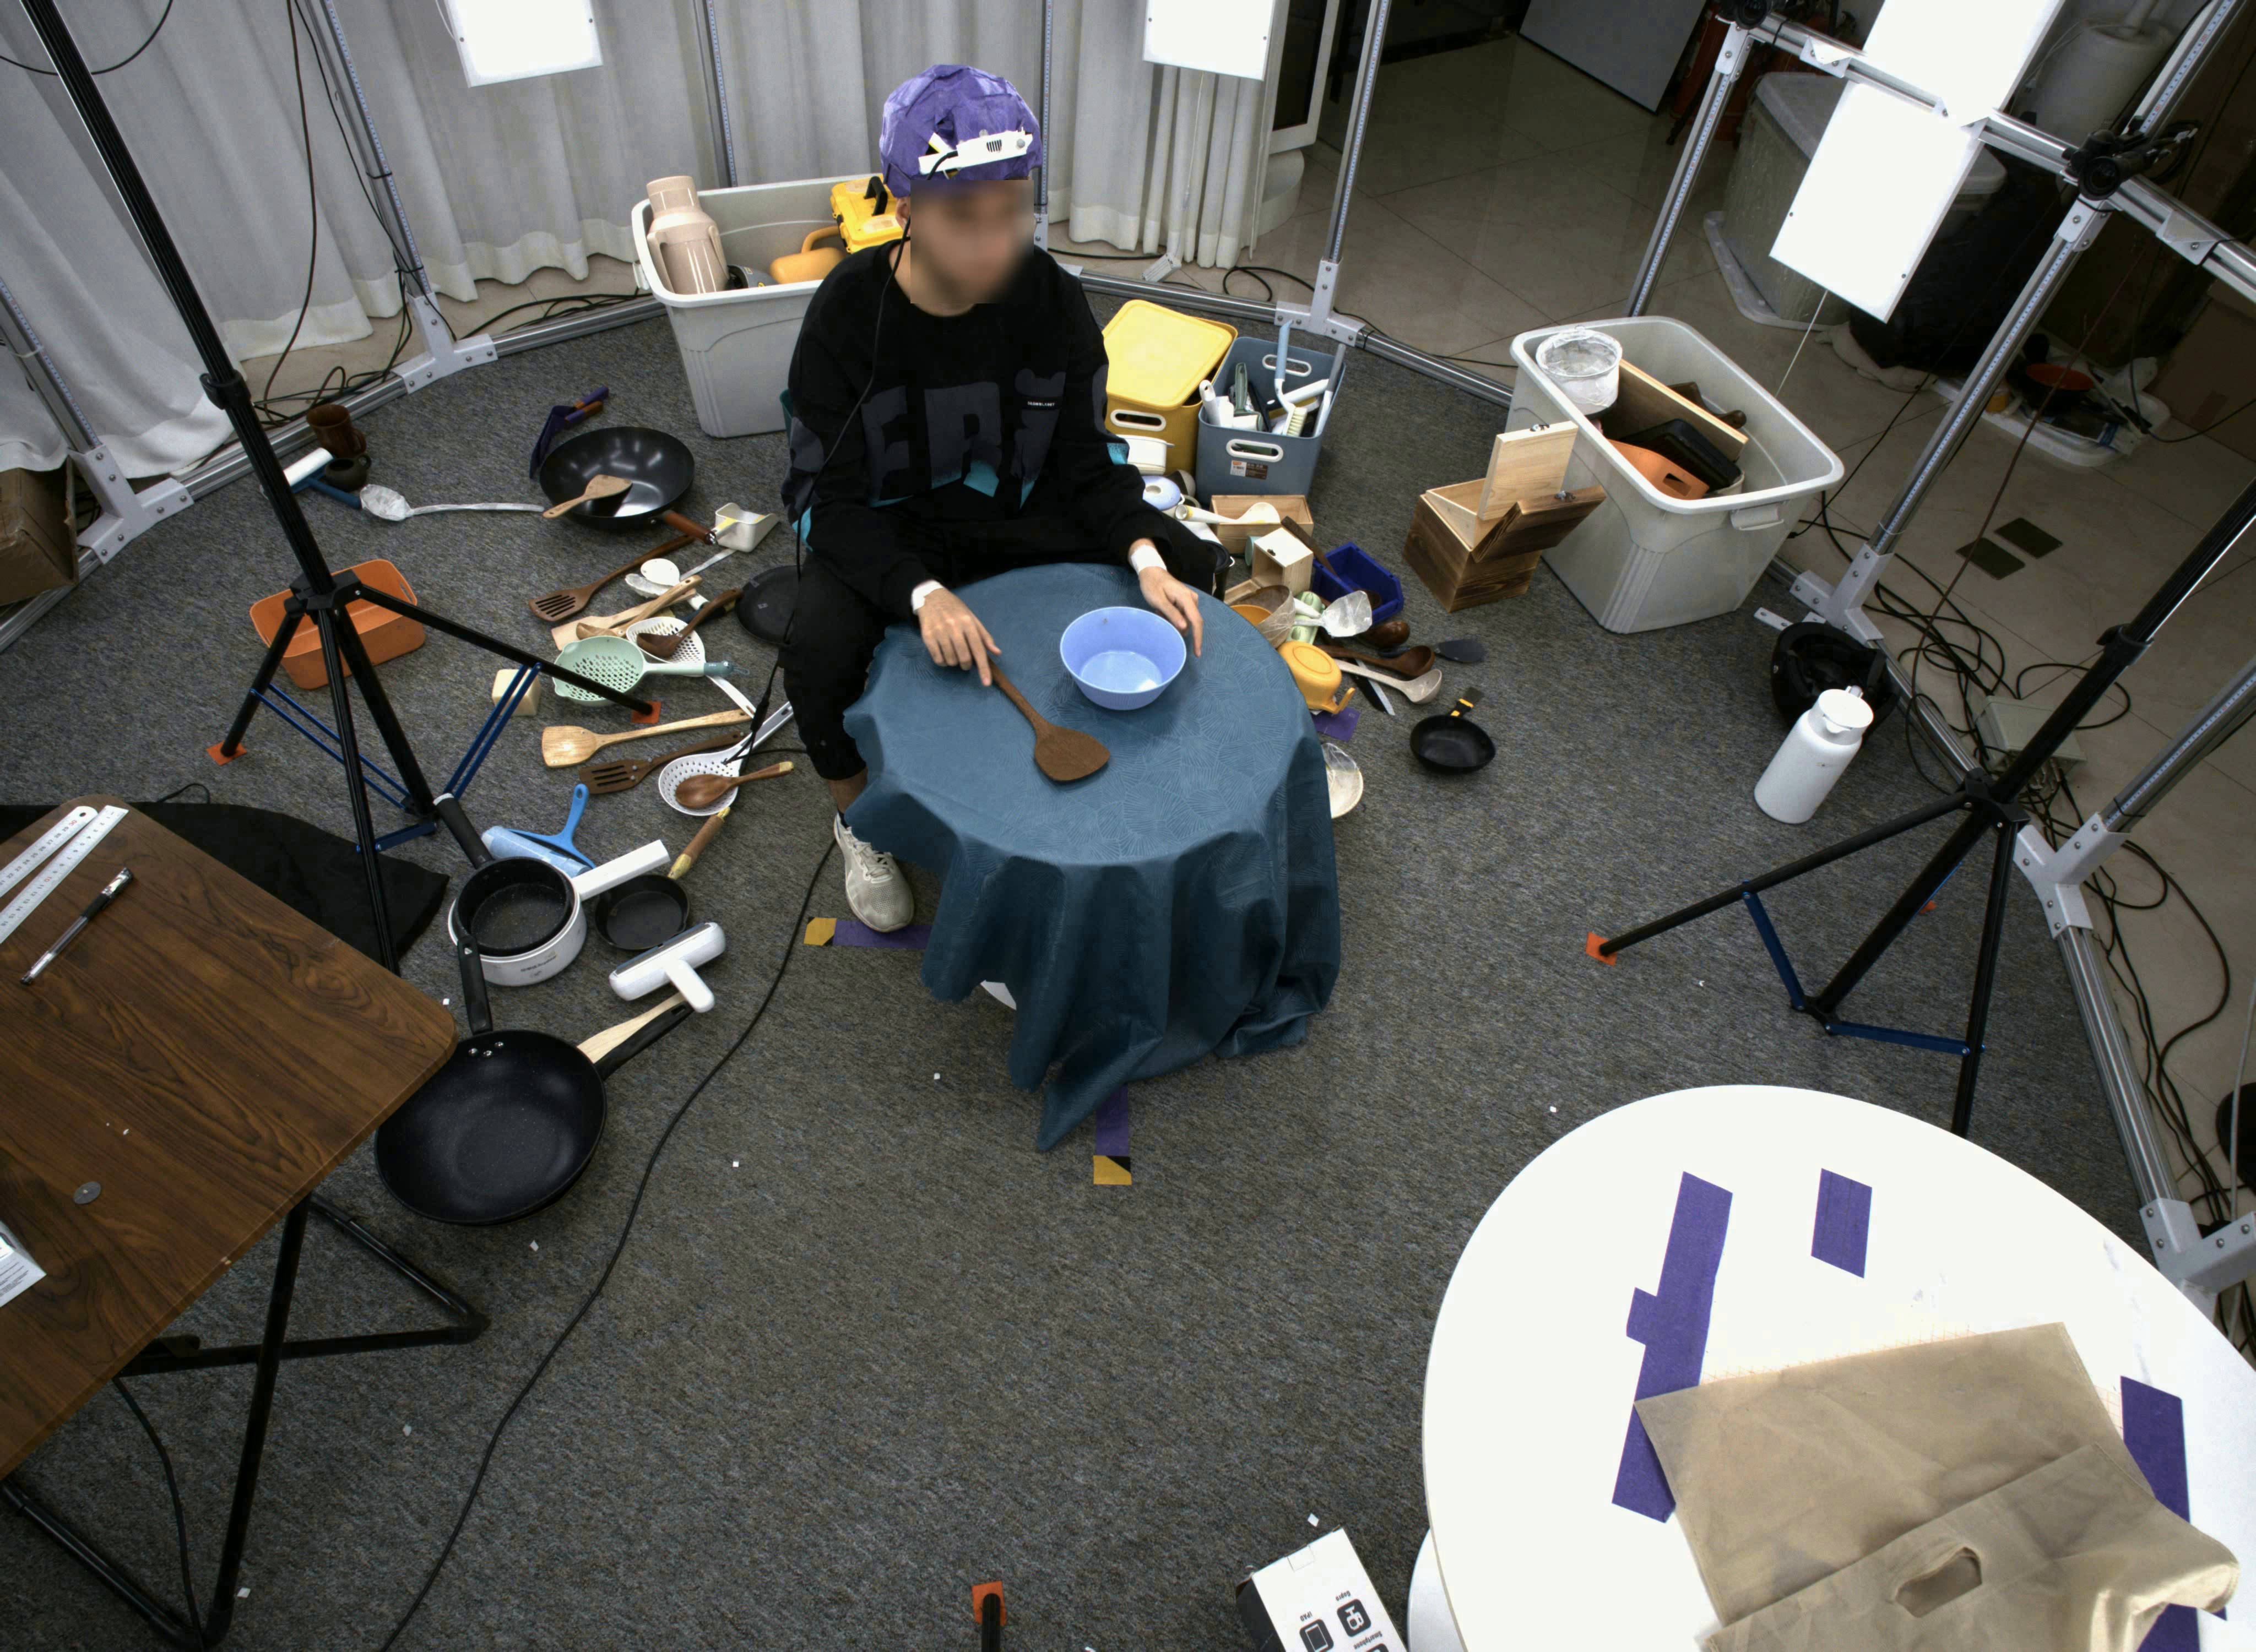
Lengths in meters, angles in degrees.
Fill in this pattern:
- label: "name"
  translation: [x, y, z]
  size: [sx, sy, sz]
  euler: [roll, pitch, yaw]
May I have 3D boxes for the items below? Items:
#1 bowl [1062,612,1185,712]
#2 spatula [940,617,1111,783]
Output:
- label: "bowl"
  translation: [-0.008, -0.226, 1.836]
  size: [0.176, 0.068, 0.180]
  euler: [2, 47, -2]
- label: "spatula"
  translation: [-0.164, -0.190, 1.830]
  size: [0.096, 0.015, 0.393]
  euler: [-26, 55, -24]
